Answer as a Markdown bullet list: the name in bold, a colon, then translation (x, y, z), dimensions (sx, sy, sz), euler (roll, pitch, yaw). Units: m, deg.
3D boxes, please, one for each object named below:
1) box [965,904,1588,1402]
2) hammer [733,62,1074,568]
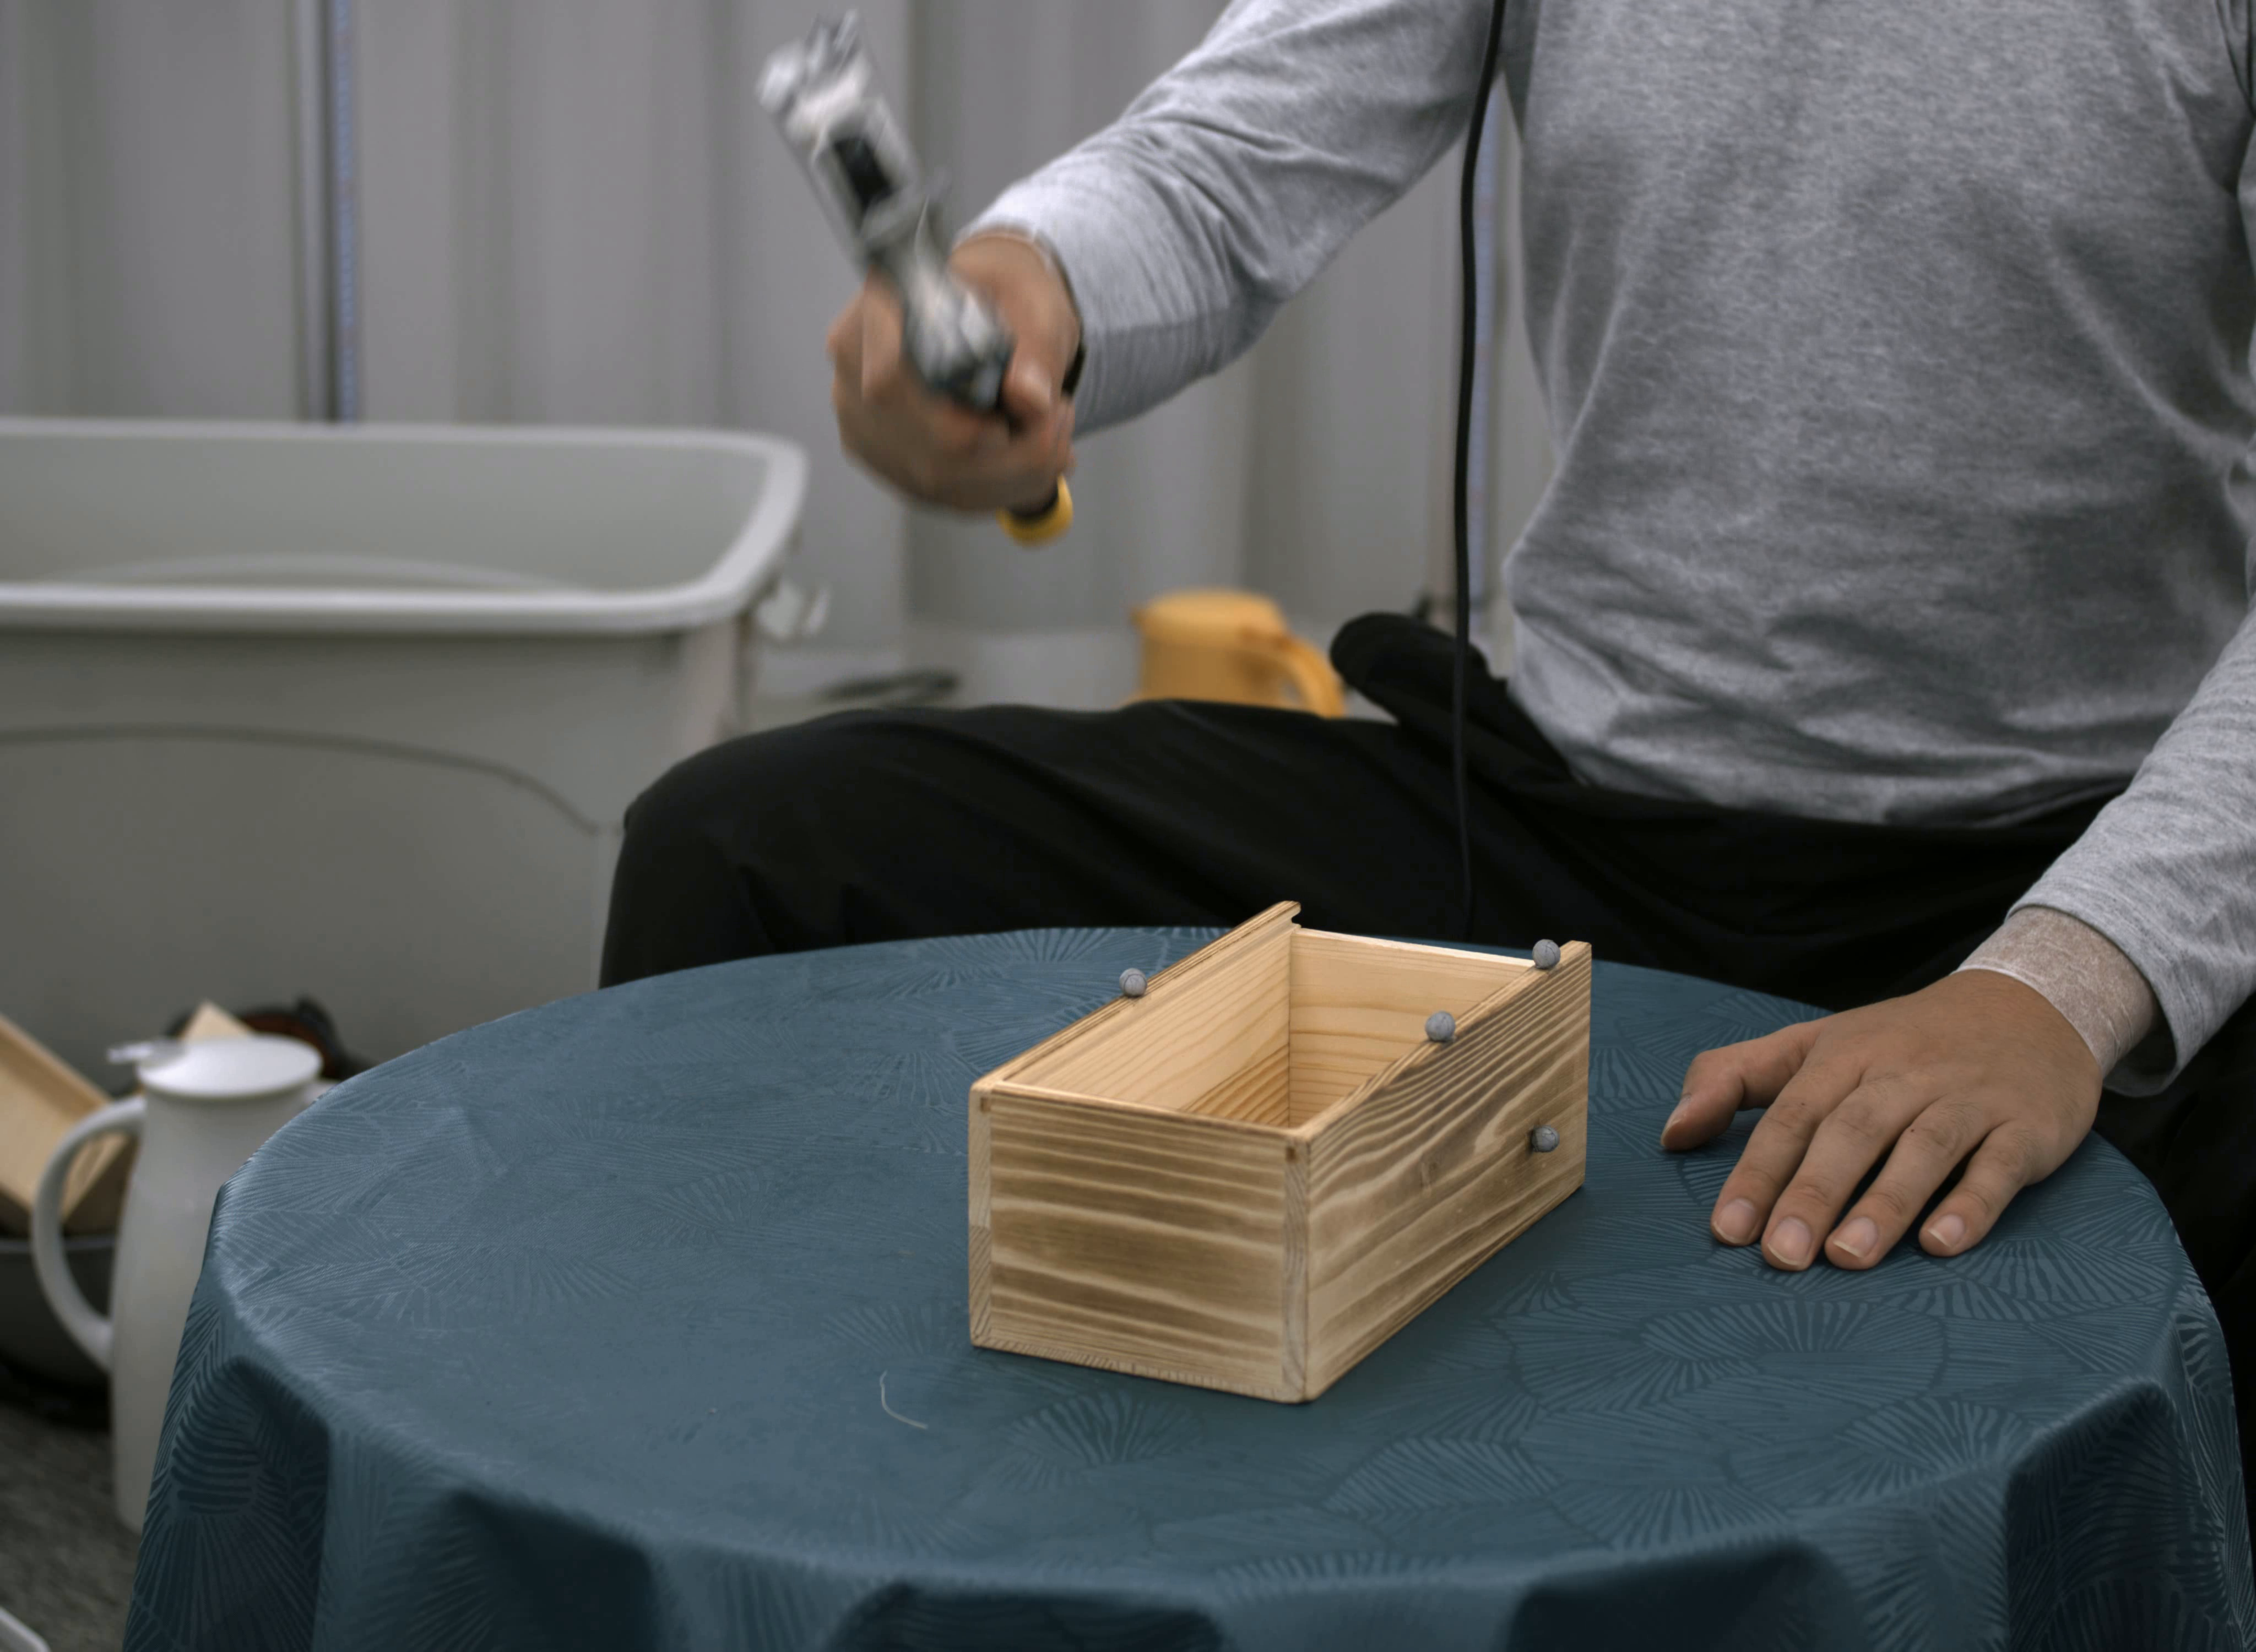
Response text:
- **box**: translation (0.048, 0.092, 1.554), dimensions (0.106, 0.081, 0.212), euler (7, 17, 25)
- **hammer**: translation (-0.056, -0.141, 1.653), dimensions (0.032, 0.131, 0.340), euler (-31, -14, 1)
